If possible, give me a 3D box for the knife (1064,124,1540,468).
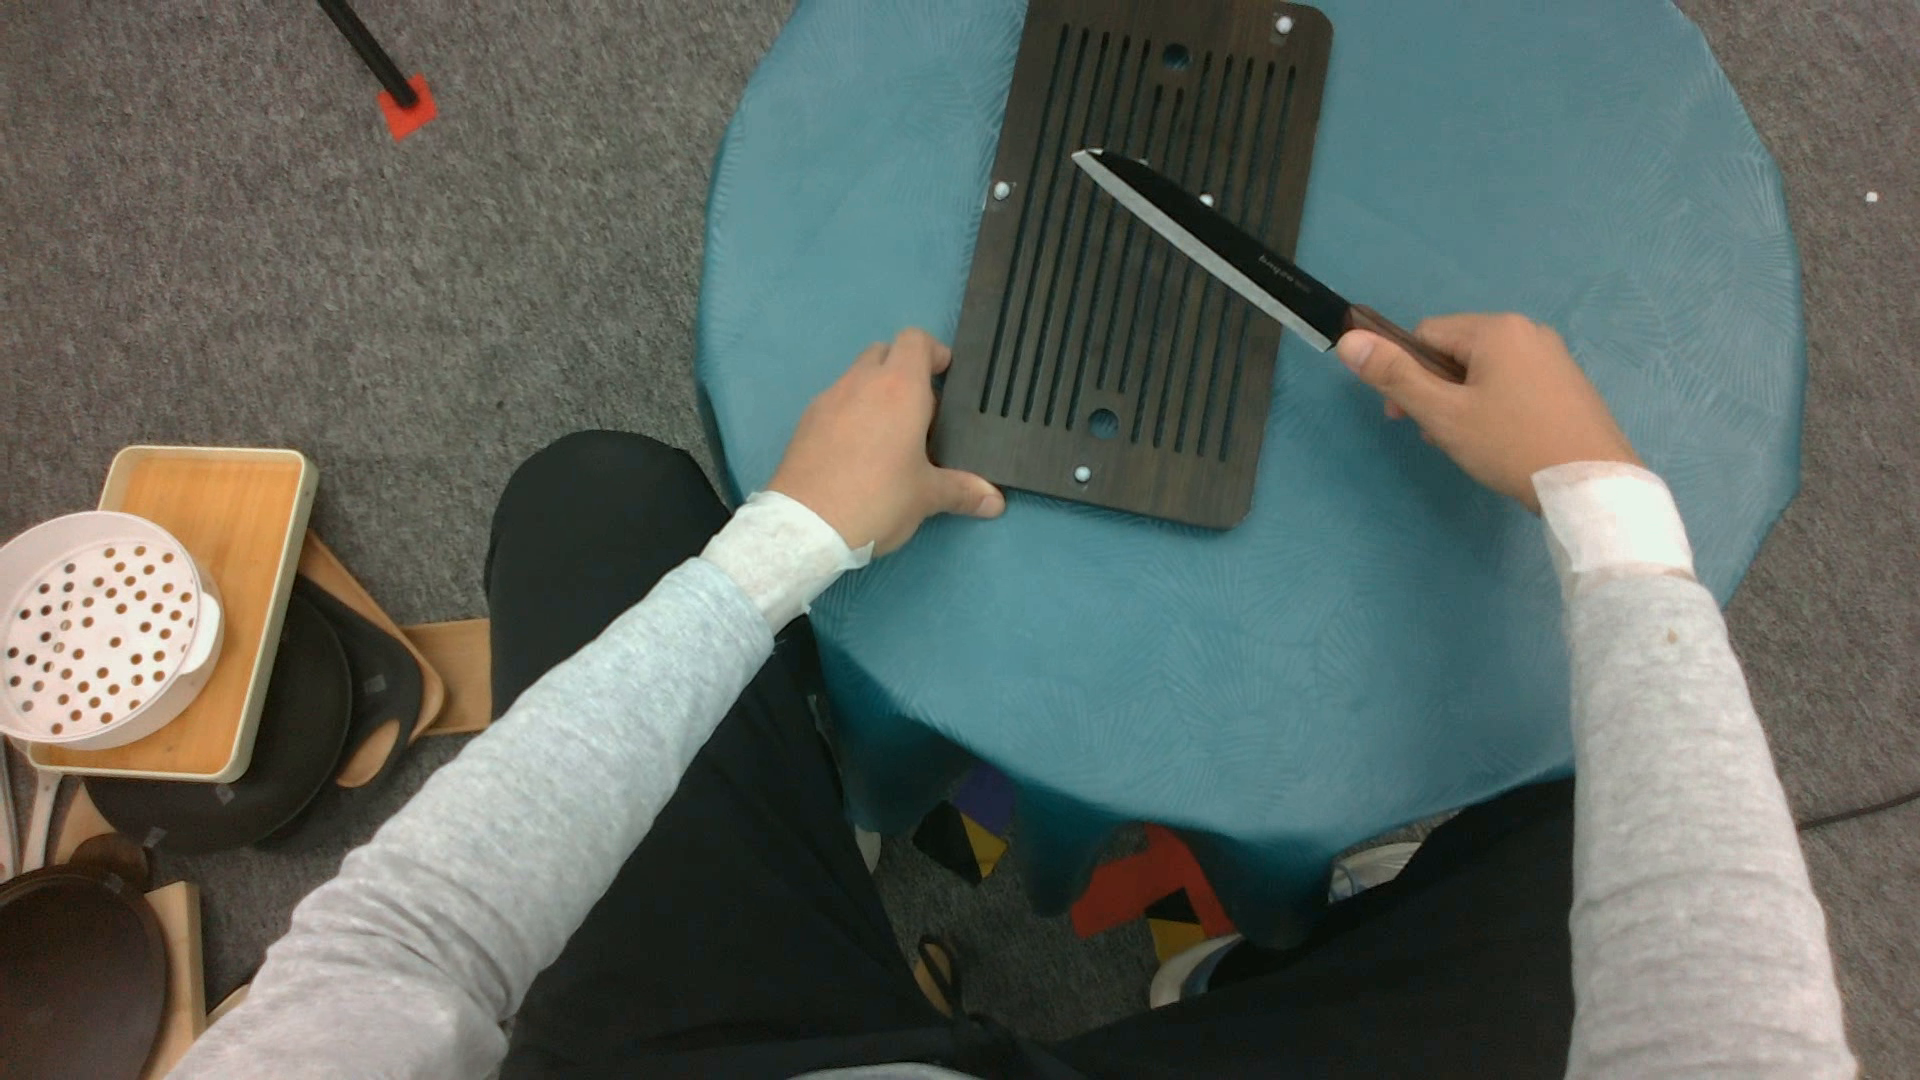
[{"bbox_3d":[0.168,-0.127,0.697,0.289,0.050,0.020,38,68,7],"label":"knife"}]

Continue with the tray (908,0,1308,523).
[{"bbox_3d":[0.084,-0.168,0.751,0.170,0.018,0.306,12,77,2],"label":"tray"}]
